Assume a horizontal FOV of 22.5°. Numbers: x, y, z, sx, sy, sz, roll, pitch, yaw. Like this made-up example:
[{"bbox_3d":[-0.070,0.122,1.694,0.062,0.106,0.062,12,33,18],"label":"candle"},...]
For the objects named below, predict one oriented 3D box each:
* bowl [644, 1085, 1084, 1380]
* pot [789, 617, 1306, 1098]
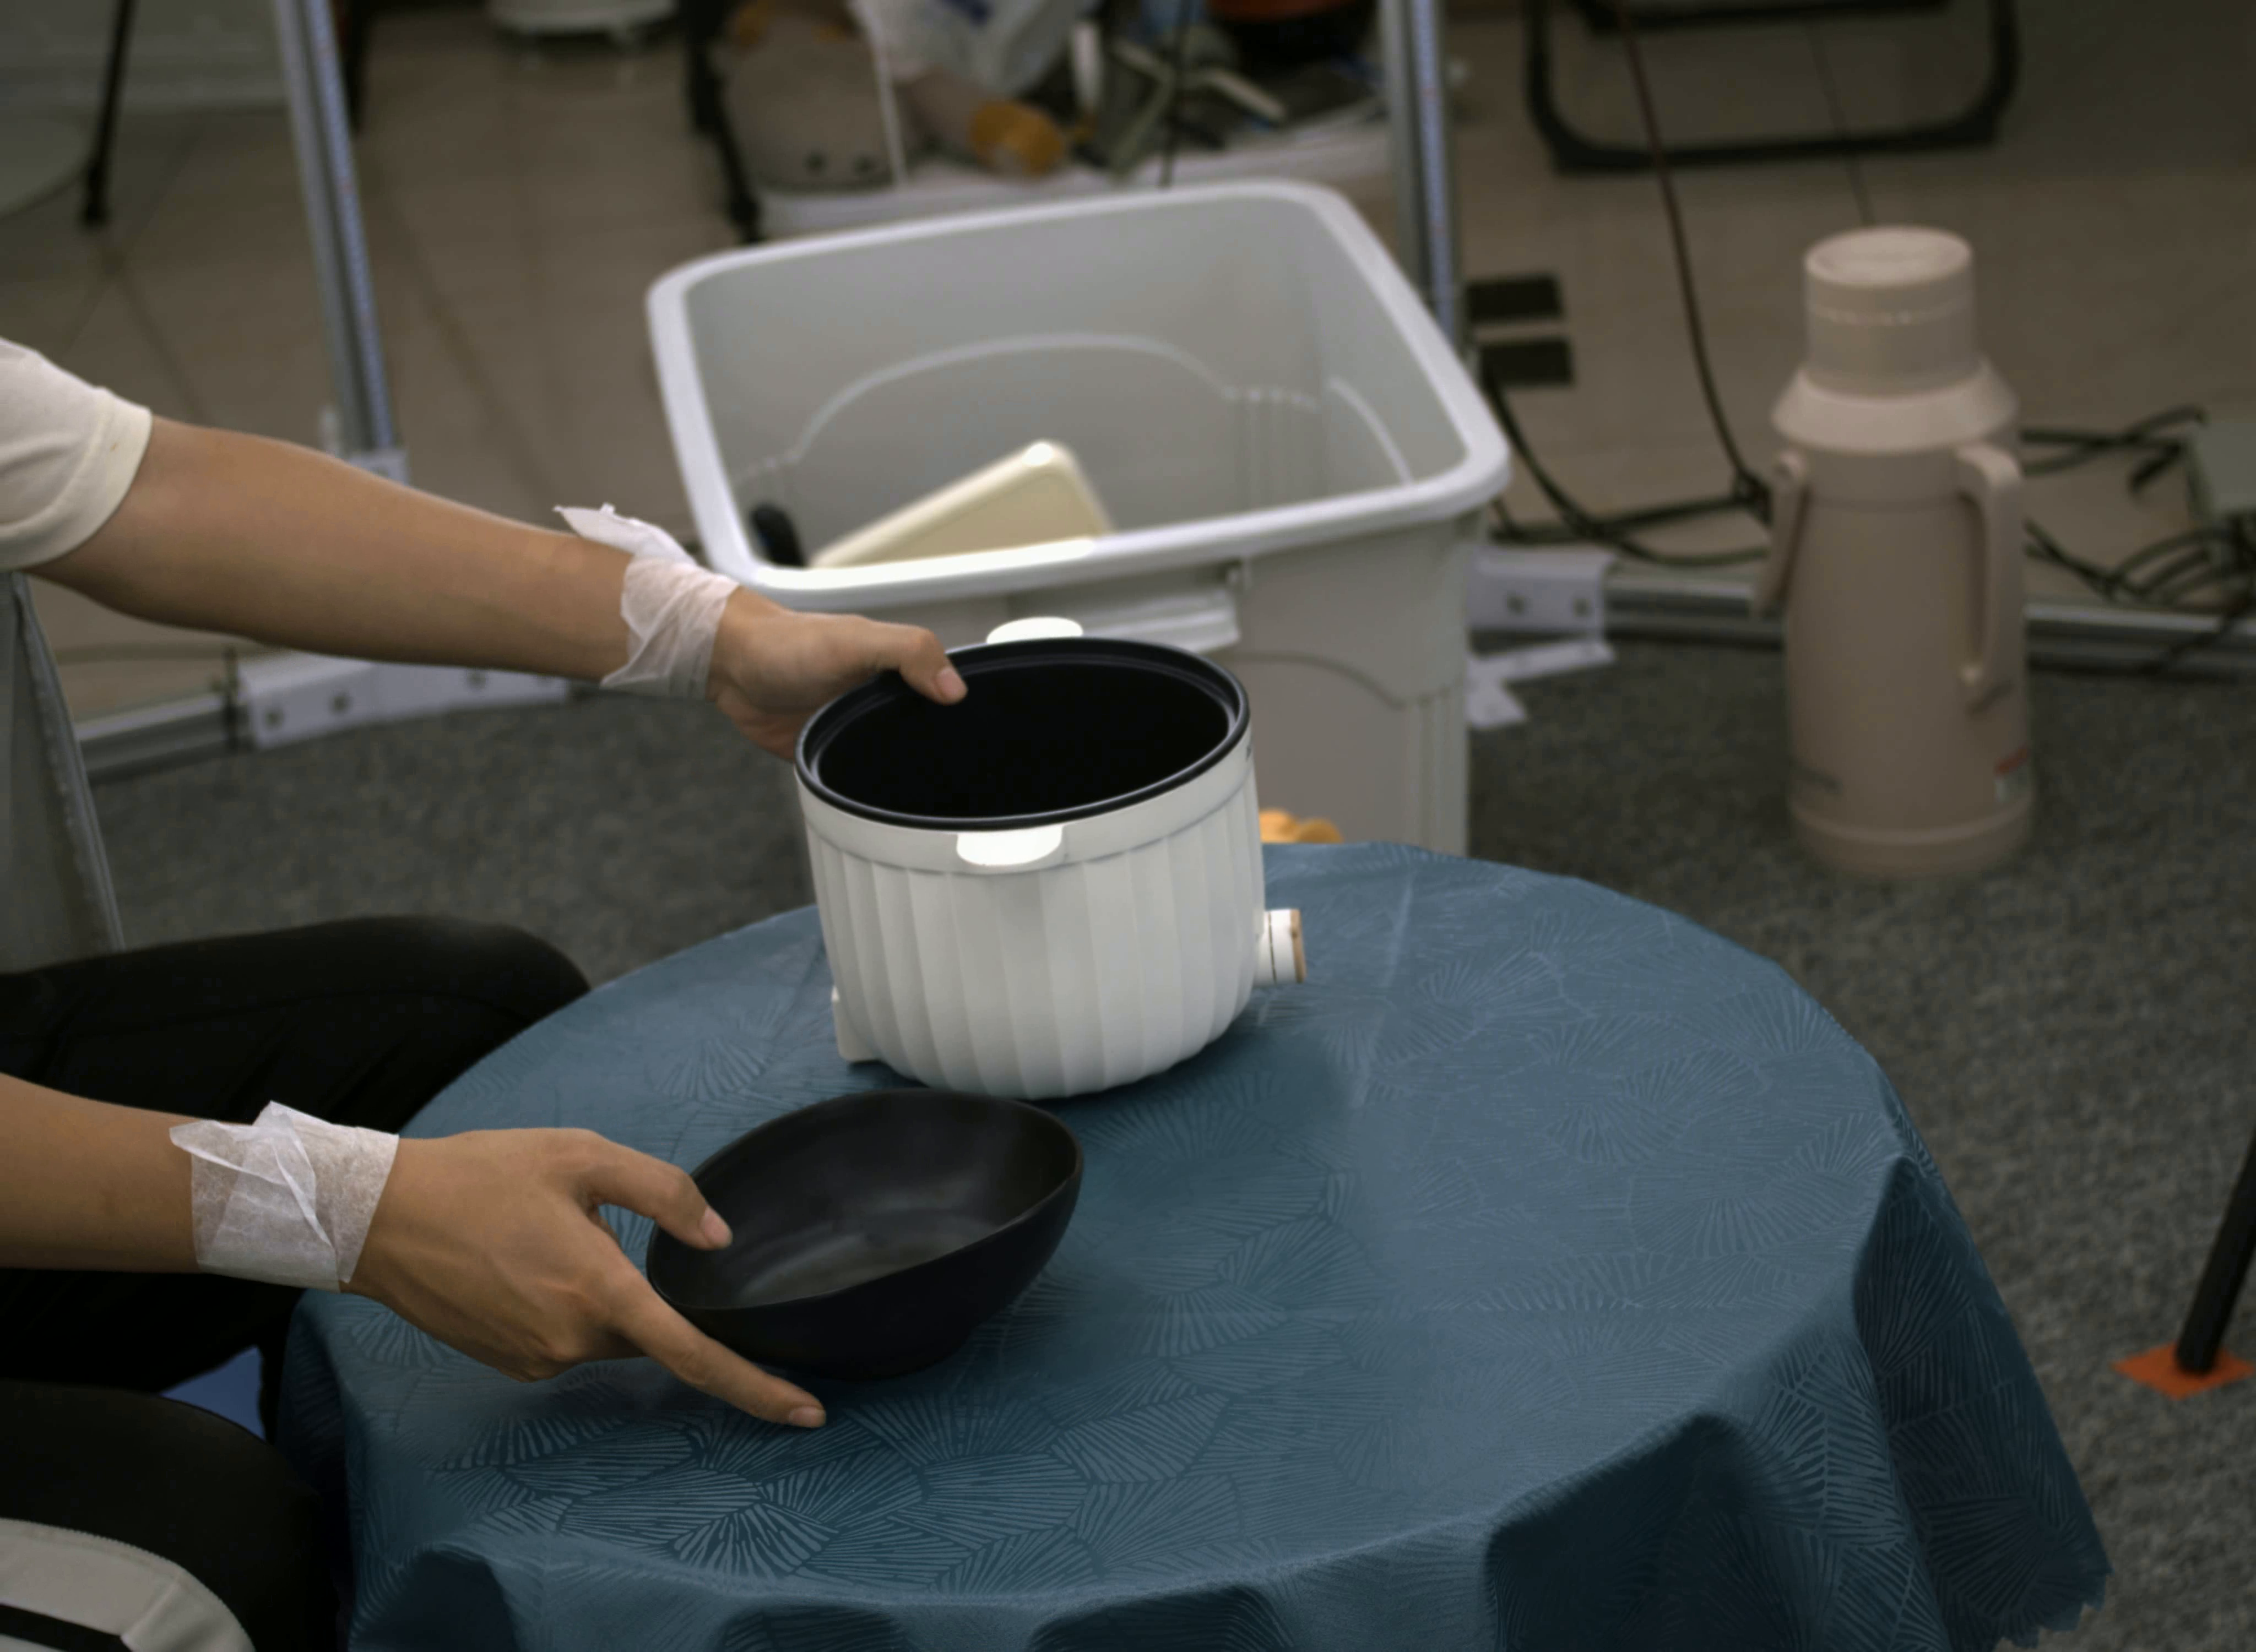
[{"bbox_3d":[-0.092,0.157,2.059,0.169,0.068,0.136,-23,28,-29],"label":"bowl"},{"bbox_3d":[-0.030,0.019,2.250,0.190,0.145,0.237,-8,26,5],"label":"pot"}]
